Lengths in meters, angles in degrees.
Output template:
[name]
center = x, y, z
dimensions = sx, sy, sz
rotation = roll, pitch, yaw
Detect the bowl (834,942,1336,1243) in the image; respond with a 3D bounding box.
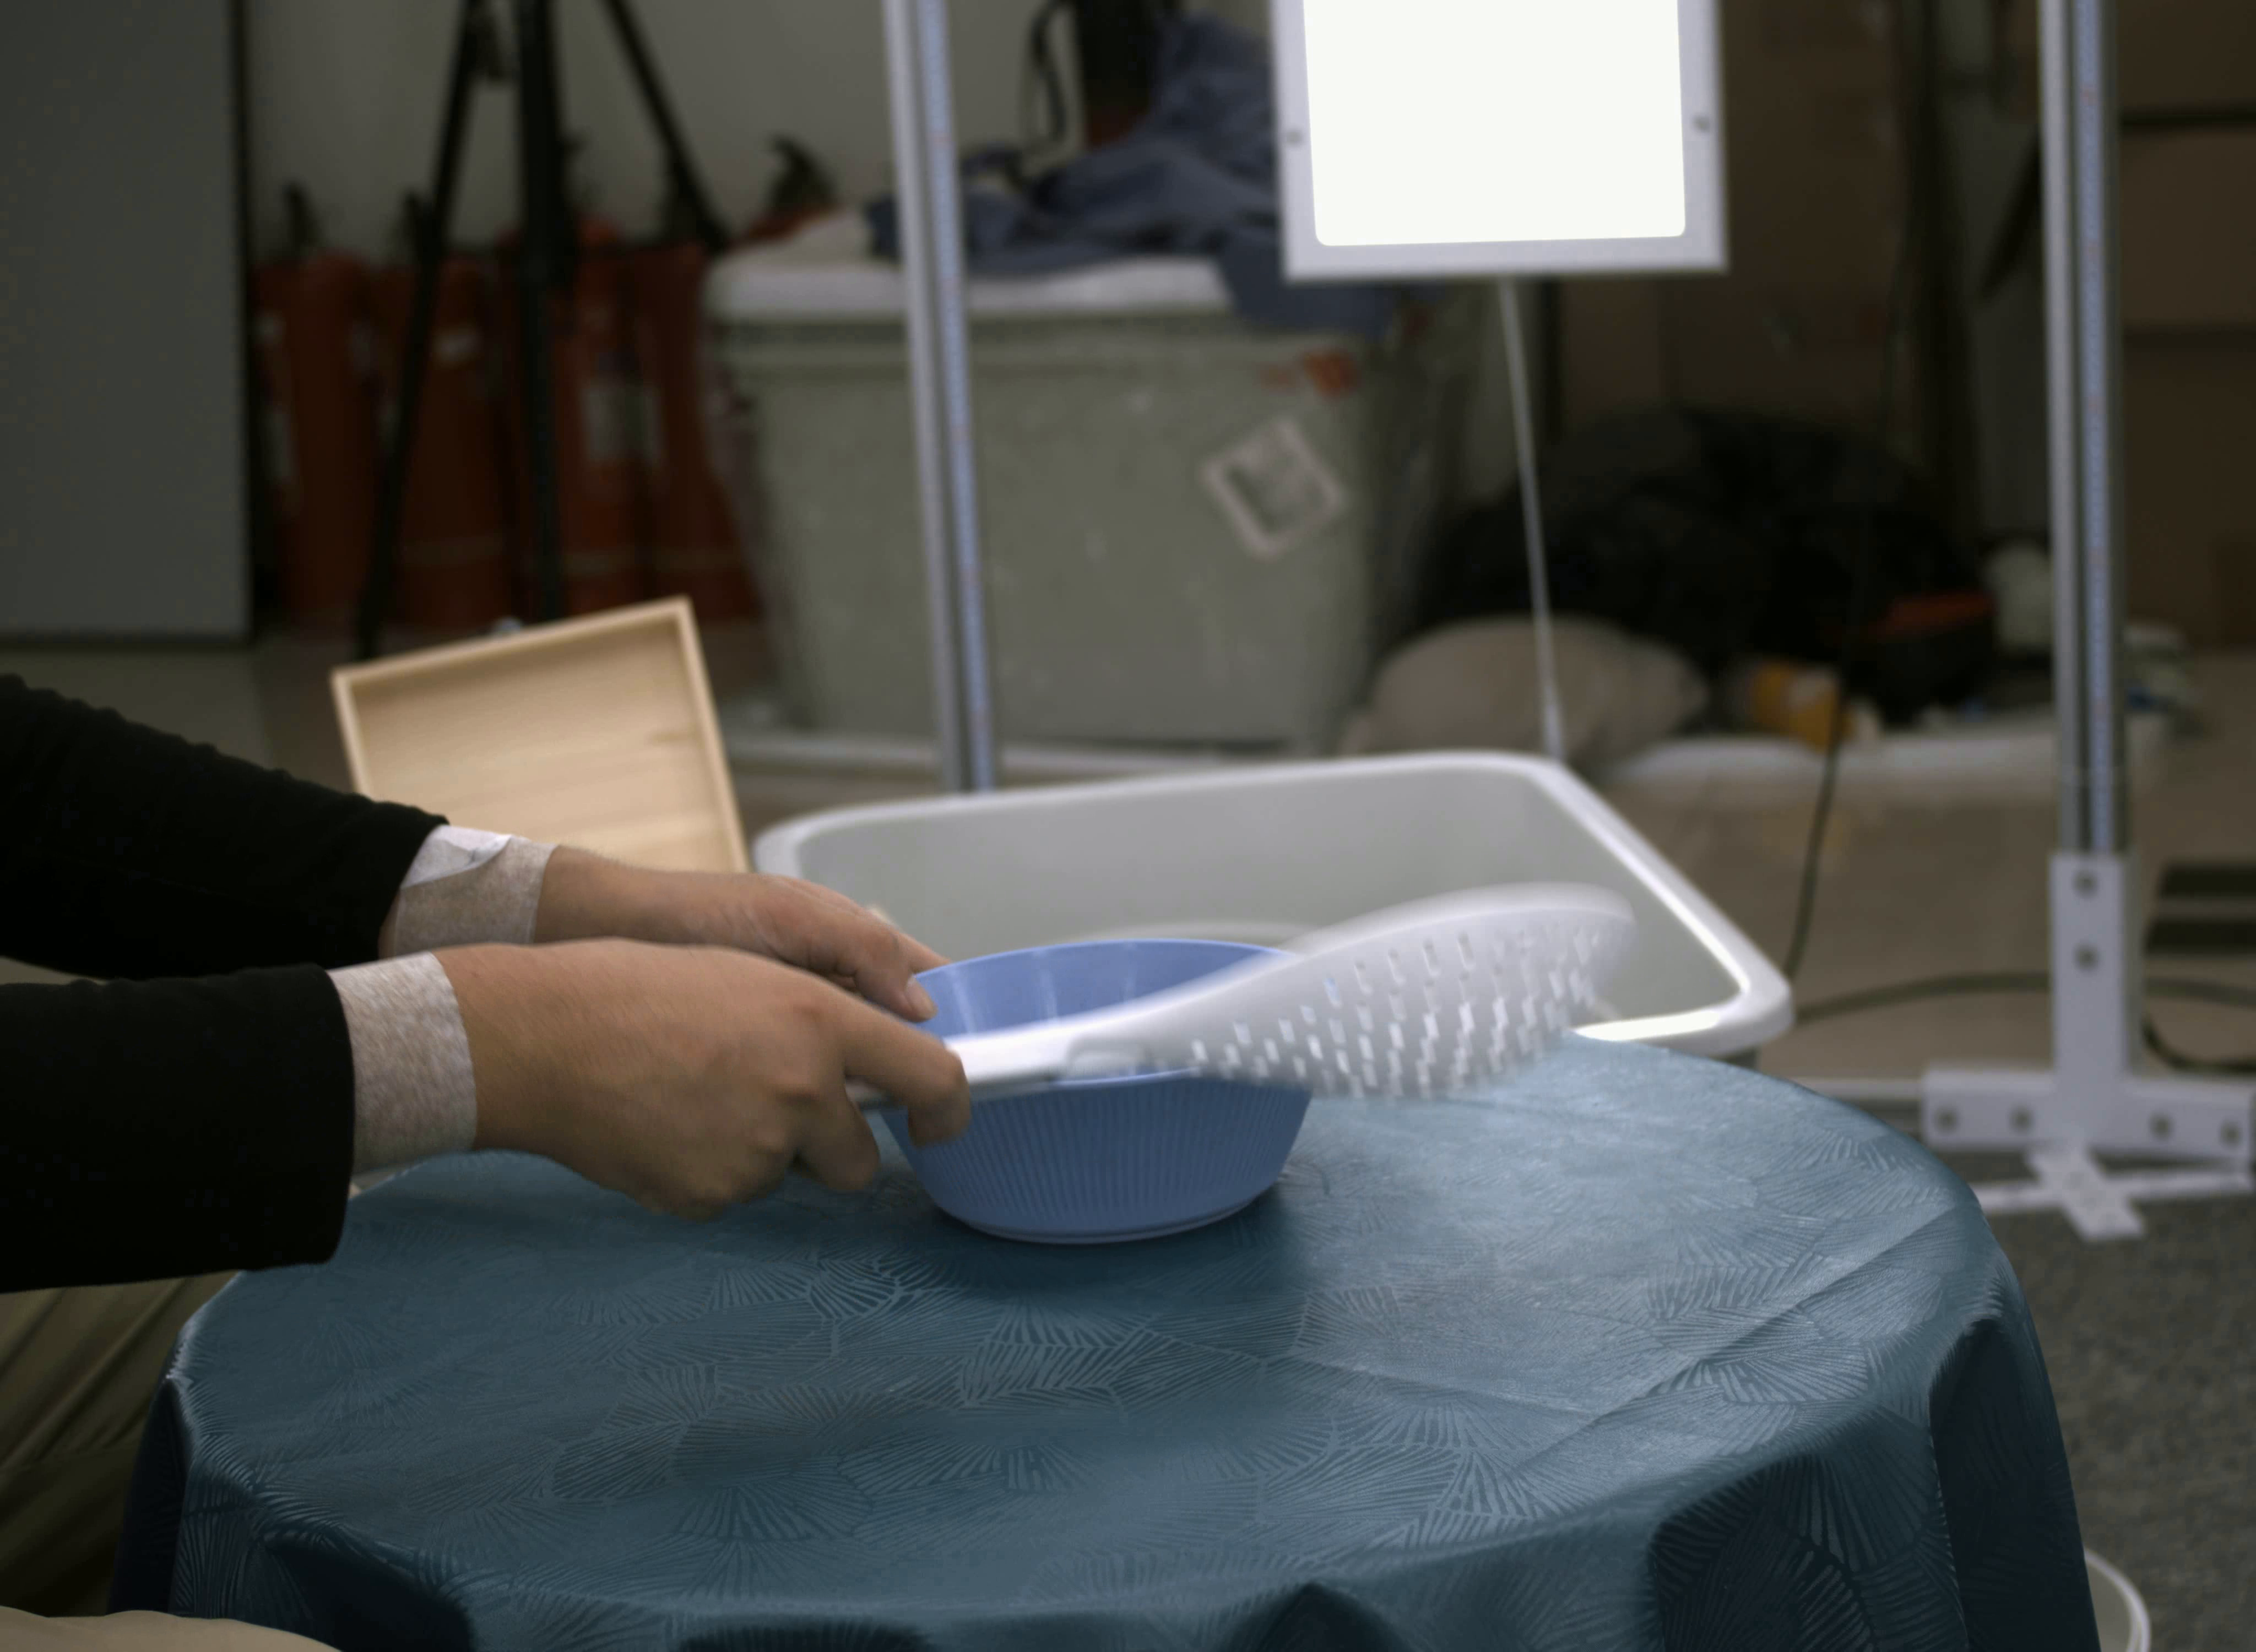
[bowl]
center = -0.011, 0.094, 1.889
dimensions = 0.175, 0.070, 0.176
rotation = -6, 14, 0

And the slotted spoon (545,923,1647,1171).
[slotted spoon]
center = -0.007, 0.073, 1.711
dimensions = 0.347, 0.046, 0.137
rotation = -3, -17, -6
